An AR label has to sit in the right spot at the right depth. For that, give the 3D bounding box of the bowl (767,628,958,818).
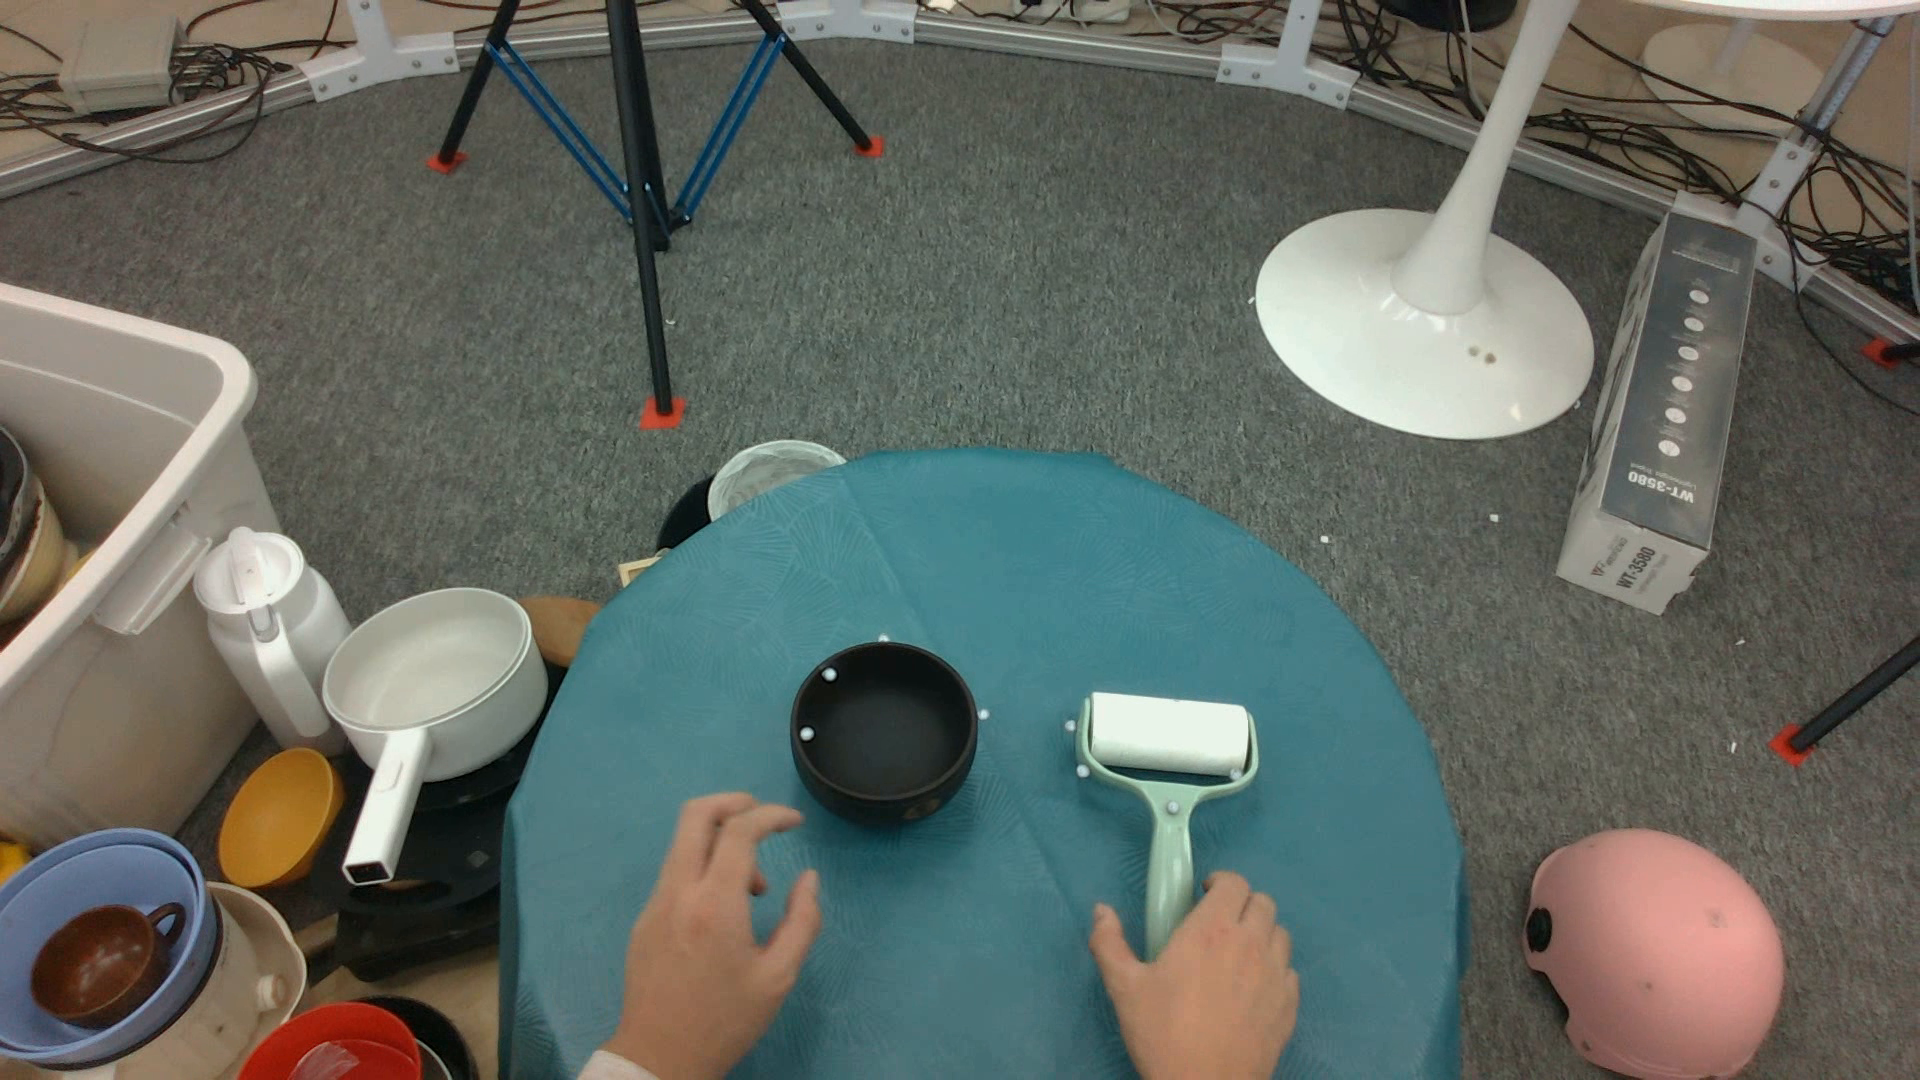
[{"bbox_3d":[-0.062,0.121,0.867,0.118,0.069,0.118,3,52,-4],"label":"bowl"}]

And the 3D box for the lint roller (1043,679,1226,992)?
[{"bbox_3d":[0.109,0.177,0.857,0.116,0.048,0.198,6,53,-2],"label":"lint roller"}]
